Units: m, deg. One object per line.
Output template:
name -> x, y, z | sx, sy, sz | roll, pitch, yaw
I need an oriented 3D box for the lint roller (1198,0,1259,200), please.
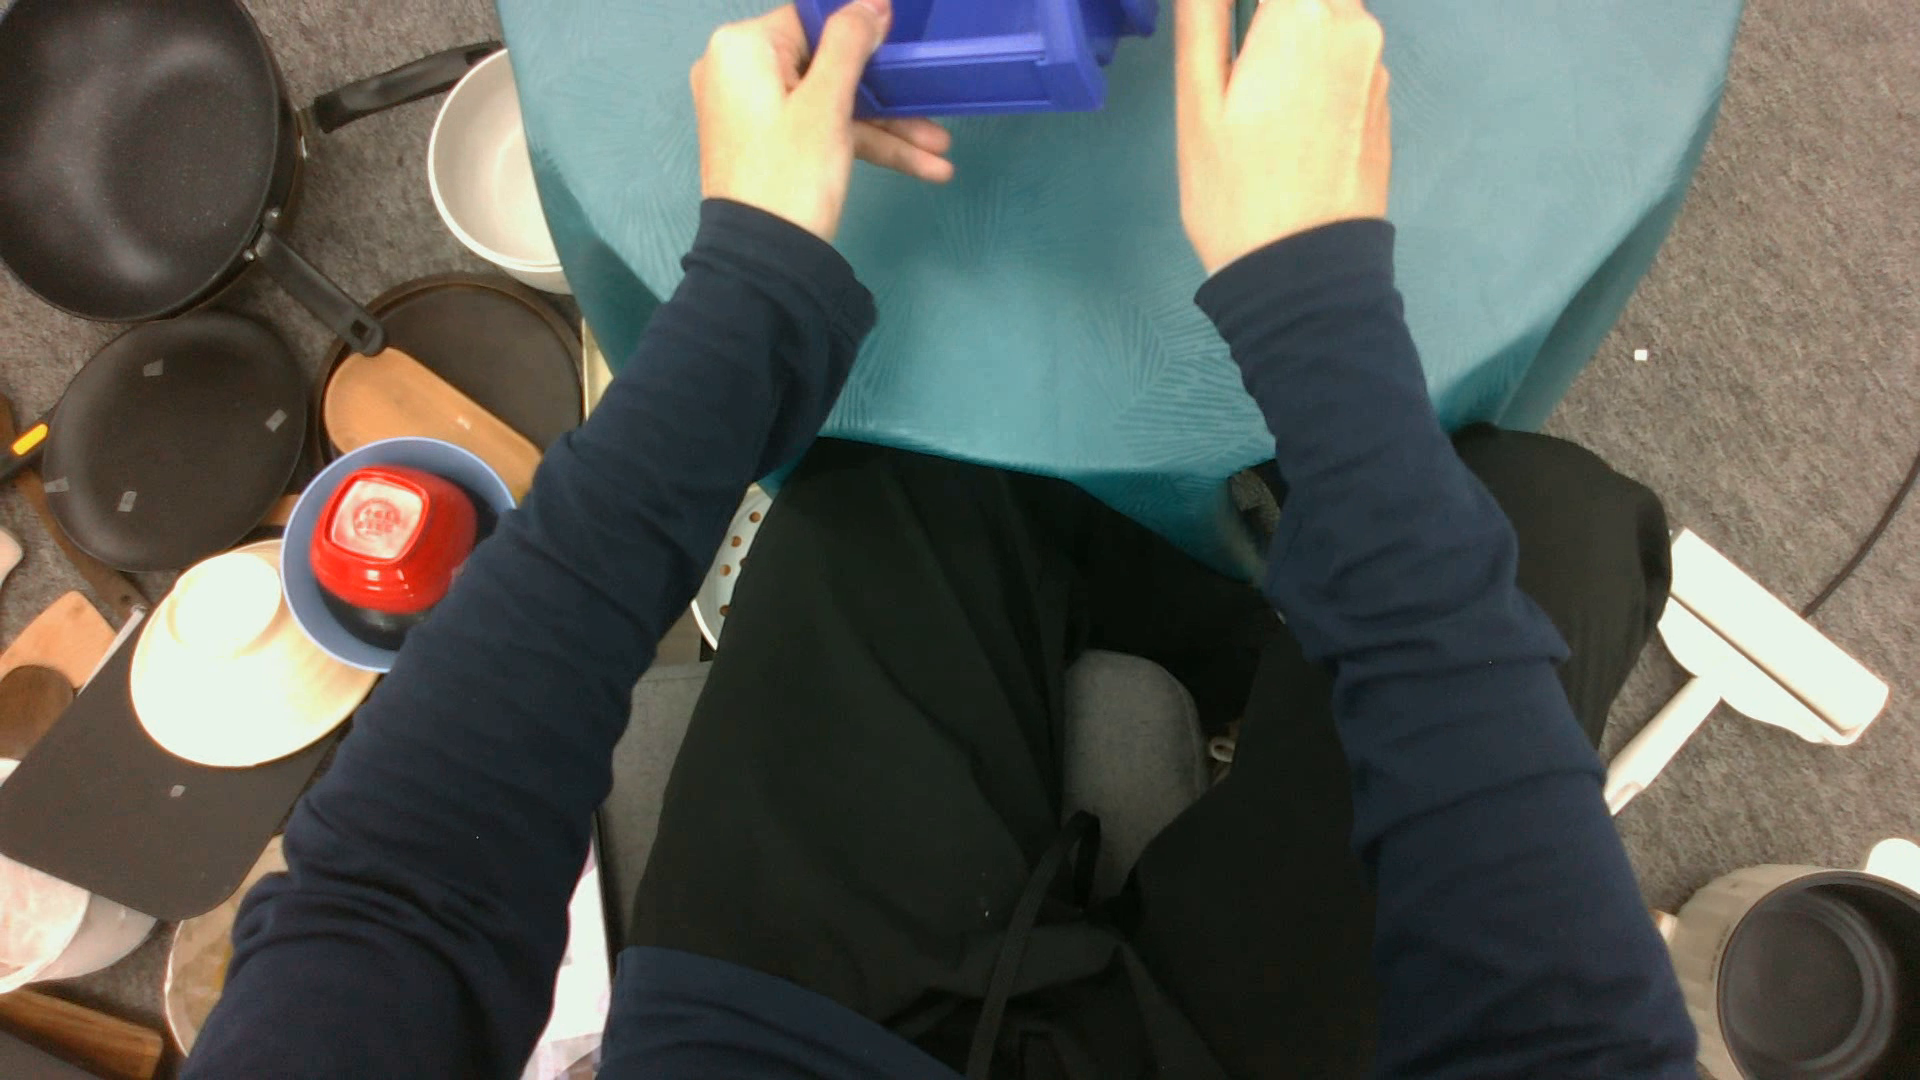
lint roller -> 0.106, -0.218, 0.504 | 0.048, 0.135, 0.180 | -9, 86, 37

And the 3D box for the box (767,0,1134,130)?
box -> 0.010, -0.251, 0.533 | 0.124, 0.082, 0.180 | 12, 77, 32
